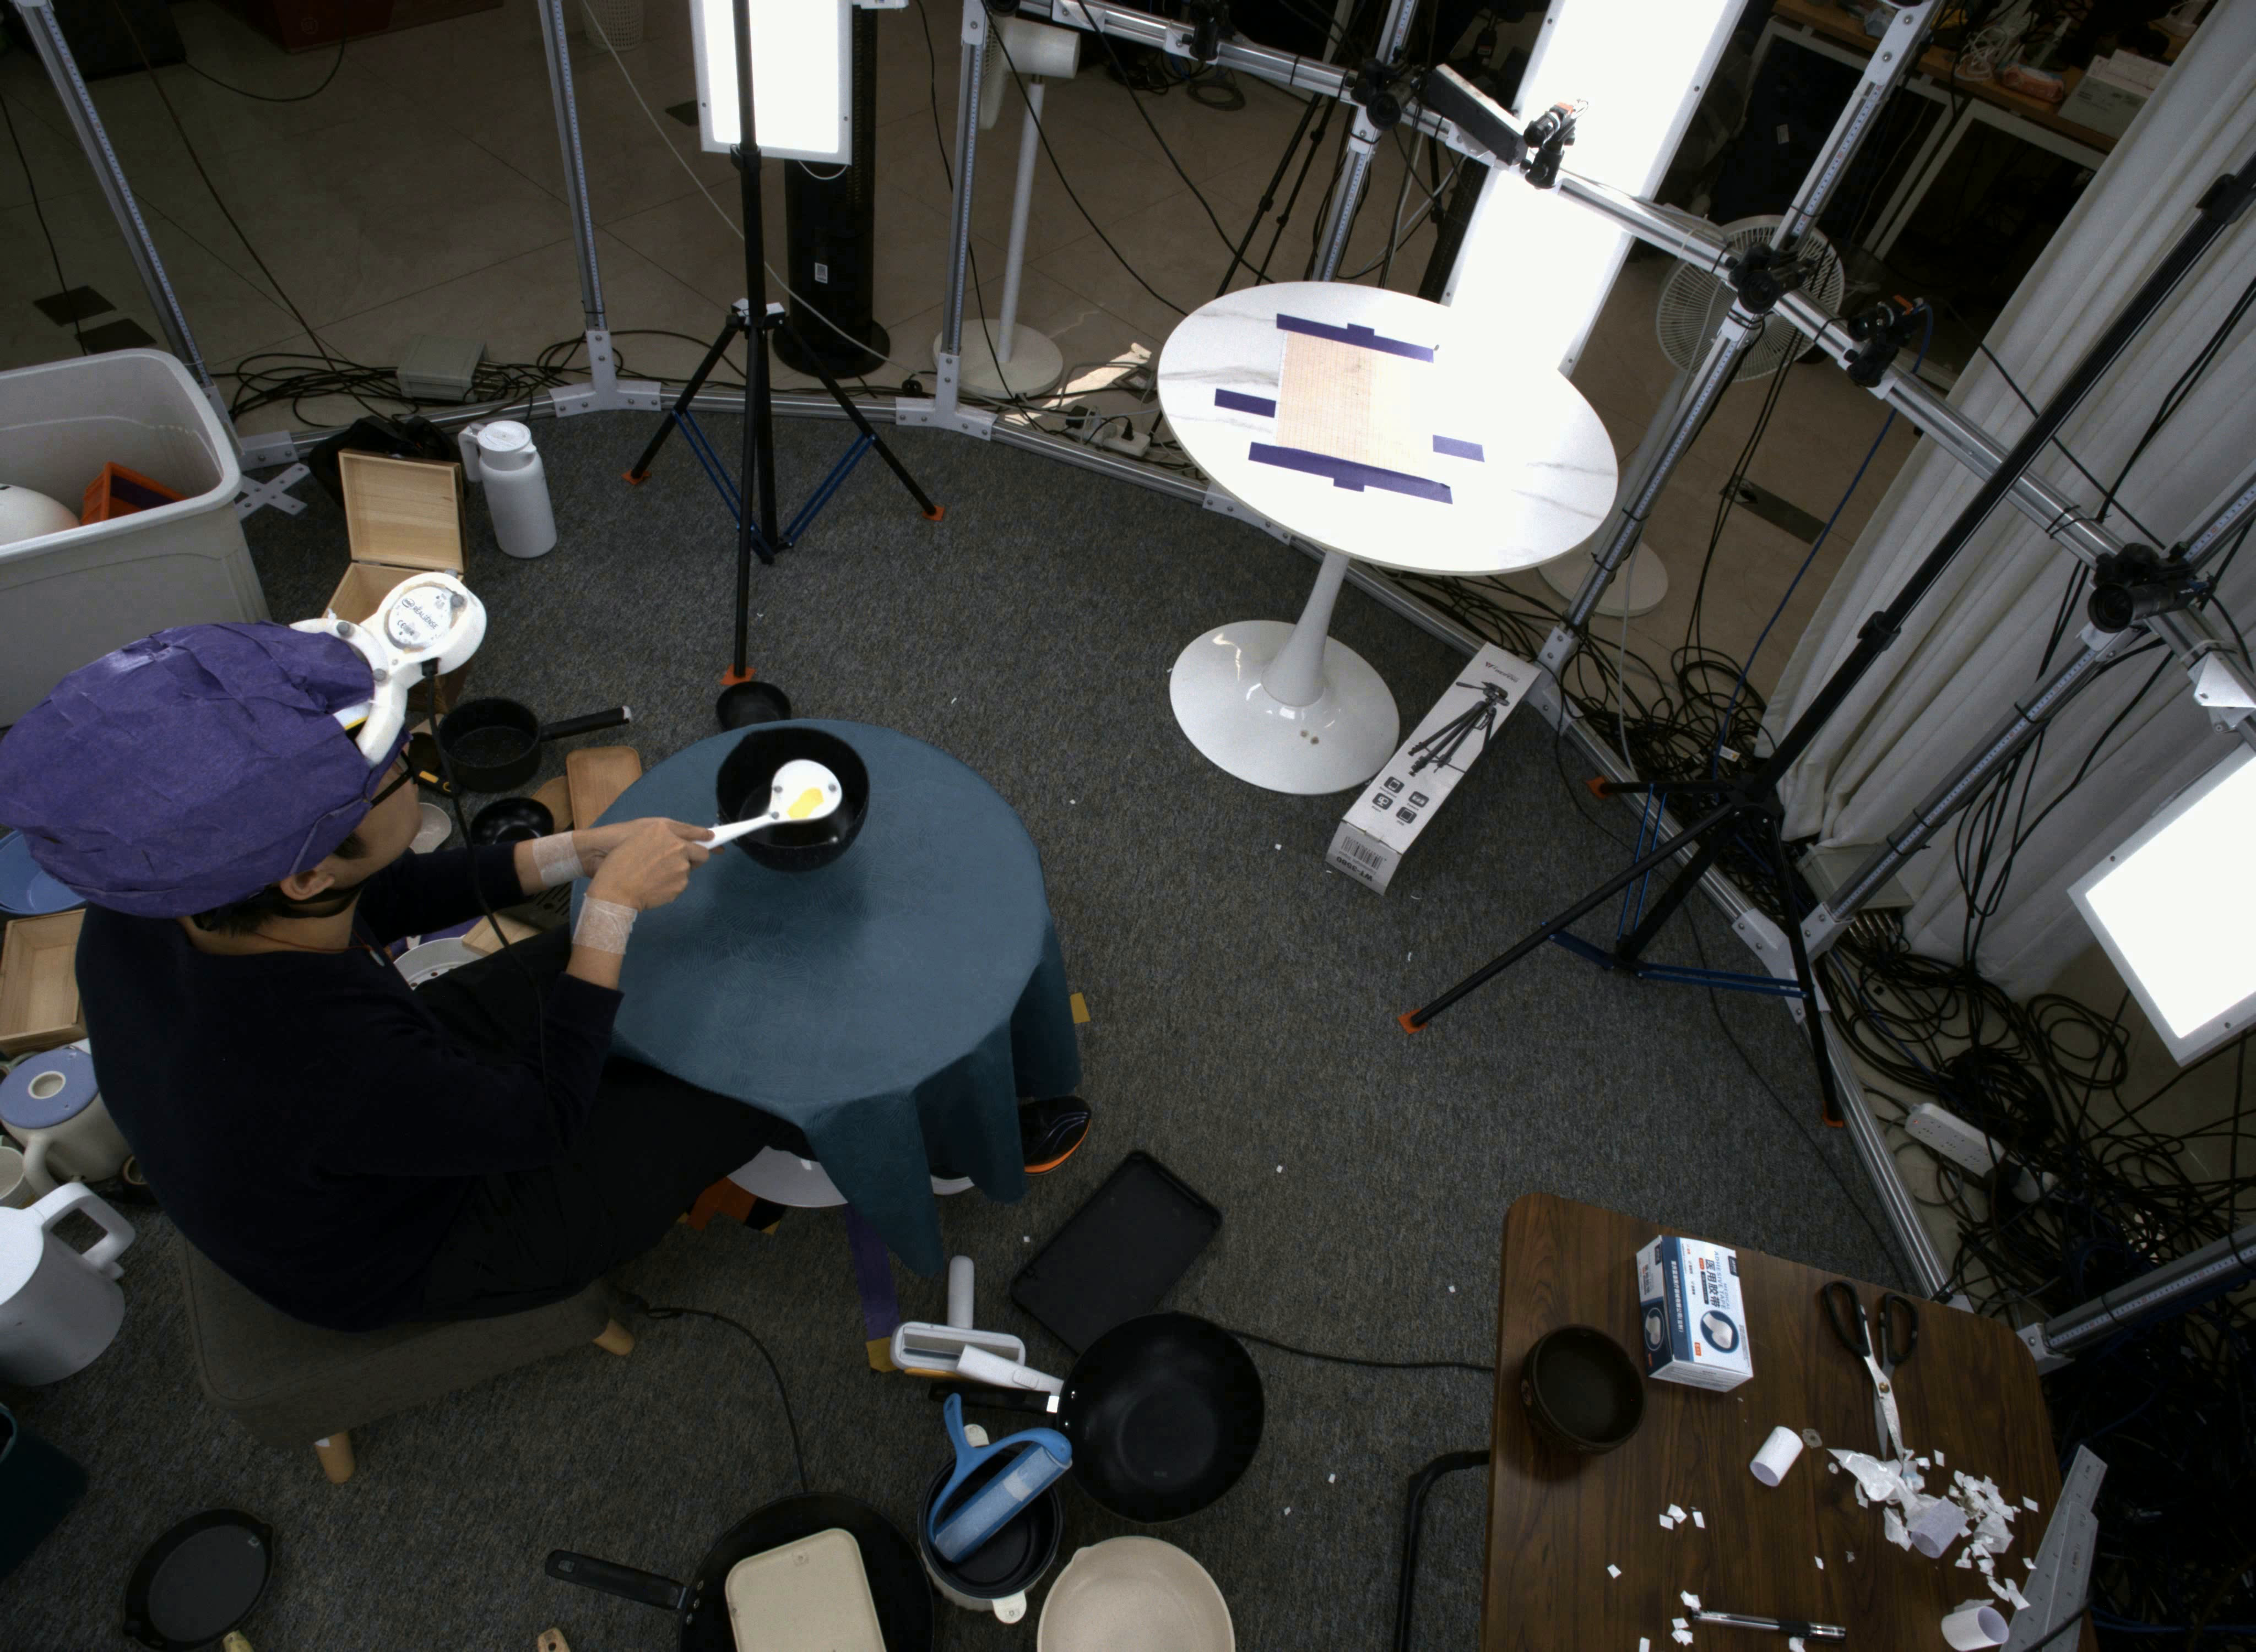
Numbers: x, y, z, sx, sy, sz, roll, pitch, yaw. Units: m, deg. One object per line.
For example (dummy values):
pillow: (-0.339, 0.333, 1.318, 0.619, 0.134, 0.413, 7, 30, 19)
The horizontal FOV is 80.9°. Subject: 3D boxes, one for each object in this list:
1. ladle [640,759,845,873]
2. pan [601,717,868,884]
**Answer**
ladle: (-0.443, -0.012, 1.497, 0.089, 0.070, 0.294, 46, 26, 8)
pan: (-0.469, 0.000, 1.546, 0.343, 0.110, 0.203, -34, 71, -30)
